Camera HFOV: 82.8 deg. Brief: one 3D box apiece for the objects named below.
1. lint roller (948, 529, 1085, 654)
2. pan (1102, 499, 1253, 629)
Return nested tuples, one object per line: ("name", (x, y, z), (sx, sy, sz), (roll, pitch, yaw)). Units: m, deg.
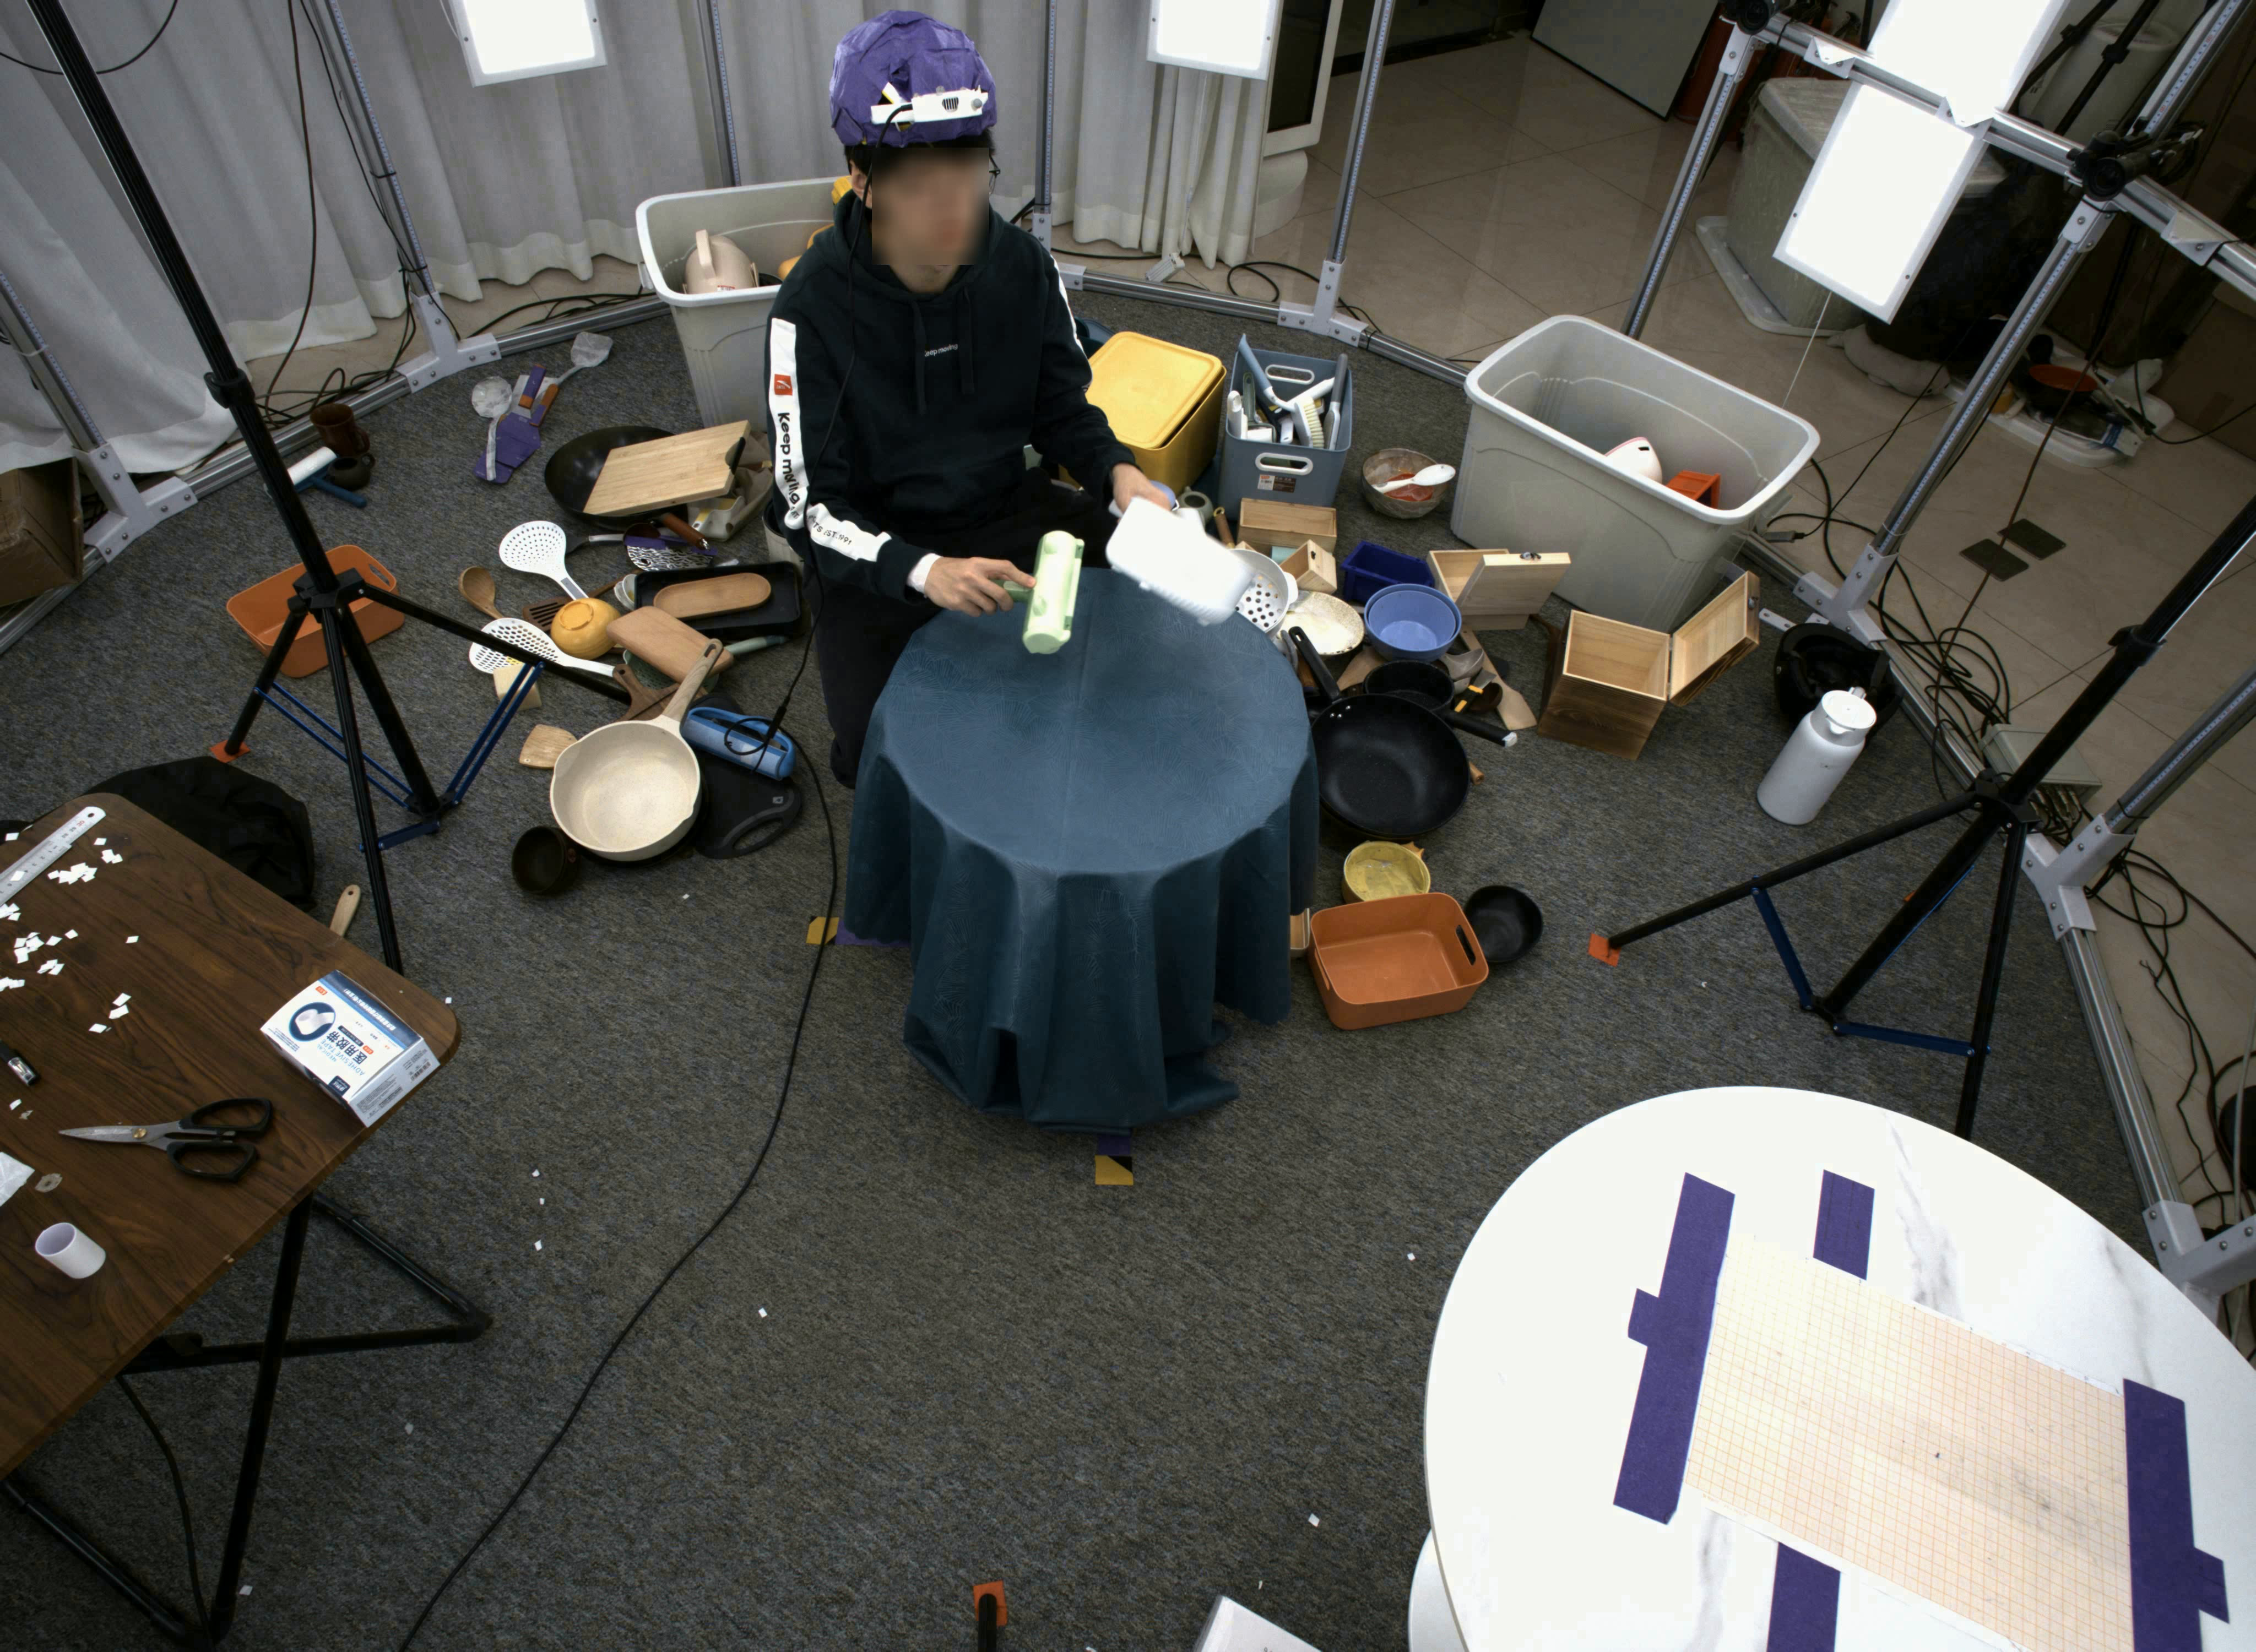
("lint roller", (-0.160, -0.336, 1.786), (0.183, 0.080, 0.203), (5, 56, 1))
("pan", (0.034, -0.381, 1.823), (0.198, 0.101, 0.361), (25, 11, -30))
